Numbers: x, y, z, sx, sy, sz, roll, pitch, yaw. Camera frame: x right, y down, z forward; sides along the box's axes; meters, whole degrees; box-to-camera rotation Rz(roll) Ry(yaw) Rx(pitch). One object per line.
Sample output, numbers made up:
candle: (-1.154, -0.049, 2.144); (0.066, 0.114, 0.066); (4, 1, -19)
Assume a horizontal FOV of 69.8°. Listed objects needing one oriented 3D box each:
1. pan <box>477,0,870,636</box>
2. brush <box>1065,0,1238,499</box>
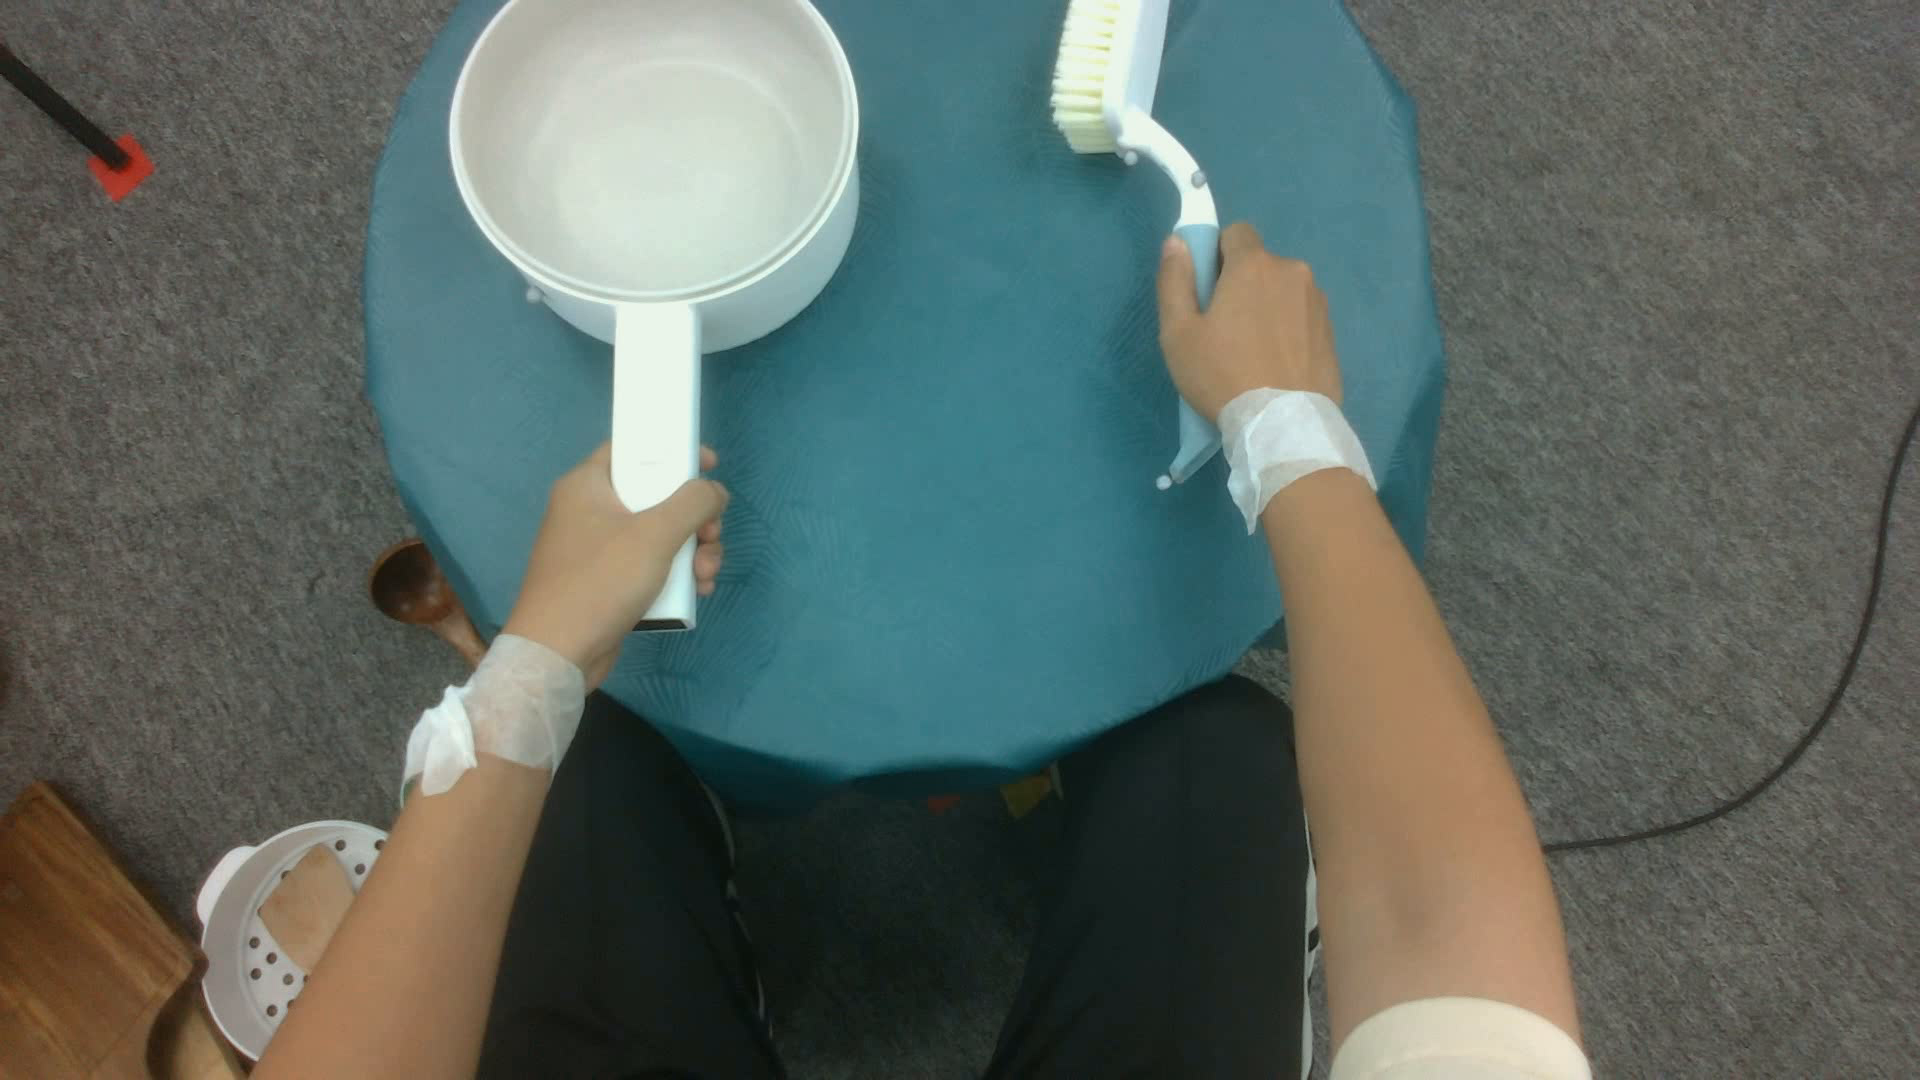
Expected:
pan: (-0.144, -0.121, 0.730); (0.201, 0.102, 0.355); (-2, 76, -1)
brush: (0.094, -0.180, 0.762); (0.083, 0.084, 0.326); (8, 76, -35)
